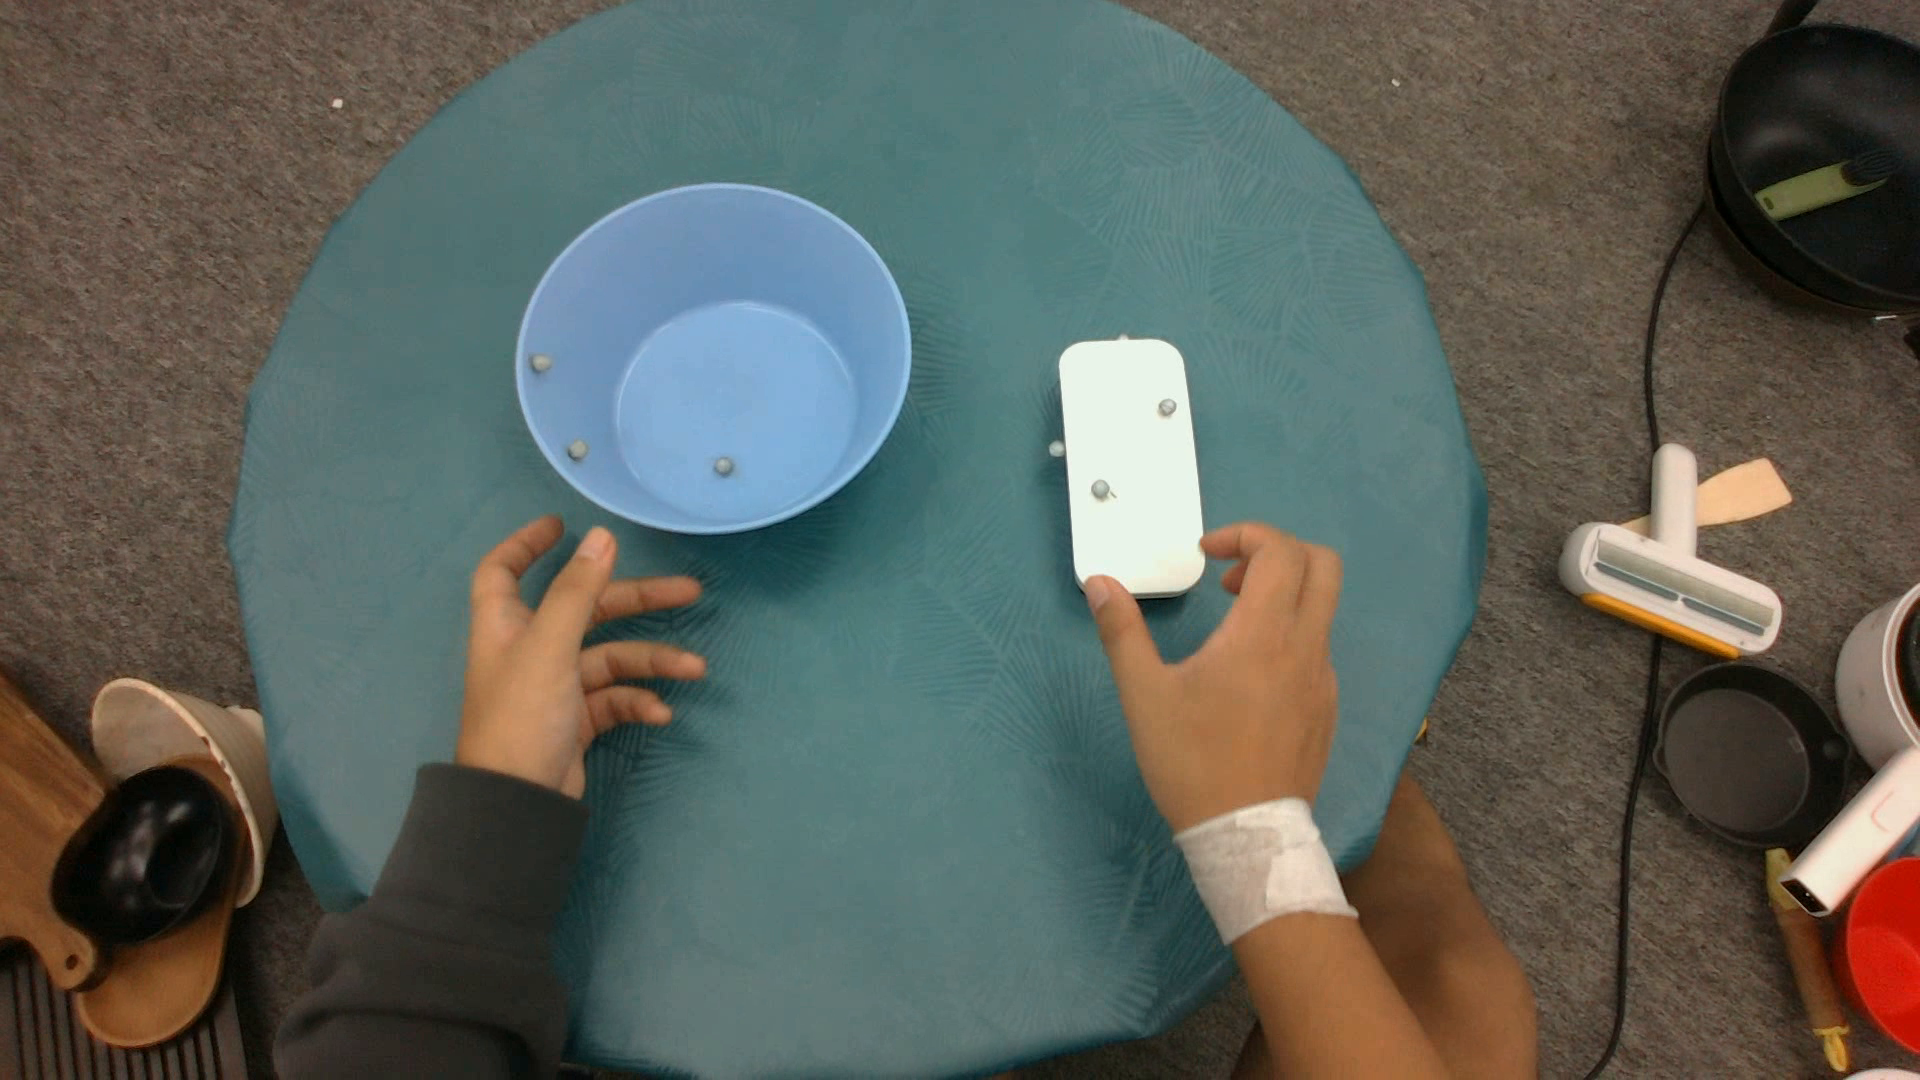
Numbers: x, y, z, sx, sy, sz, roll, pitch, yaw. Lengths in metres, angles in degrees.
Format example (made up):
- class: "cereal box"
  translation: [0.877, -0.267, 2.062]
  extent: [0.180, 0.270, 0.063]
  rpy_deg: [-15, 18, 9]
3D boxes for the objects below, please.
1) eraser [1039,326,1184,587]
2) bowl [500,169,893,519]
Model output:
- class: "eraser"
  translation: [0.070, -0.041, 0.657]
  extent: [0.063, 0.034, 0.131]
  rpy_deg: [-2, 68, 0]
- class: "bowl"
  translation: [-0.118, -0.081, 0.646]
  extent: [0.176, 0.070, 0.176]
  rpy_deg: [0, 69, 0]
